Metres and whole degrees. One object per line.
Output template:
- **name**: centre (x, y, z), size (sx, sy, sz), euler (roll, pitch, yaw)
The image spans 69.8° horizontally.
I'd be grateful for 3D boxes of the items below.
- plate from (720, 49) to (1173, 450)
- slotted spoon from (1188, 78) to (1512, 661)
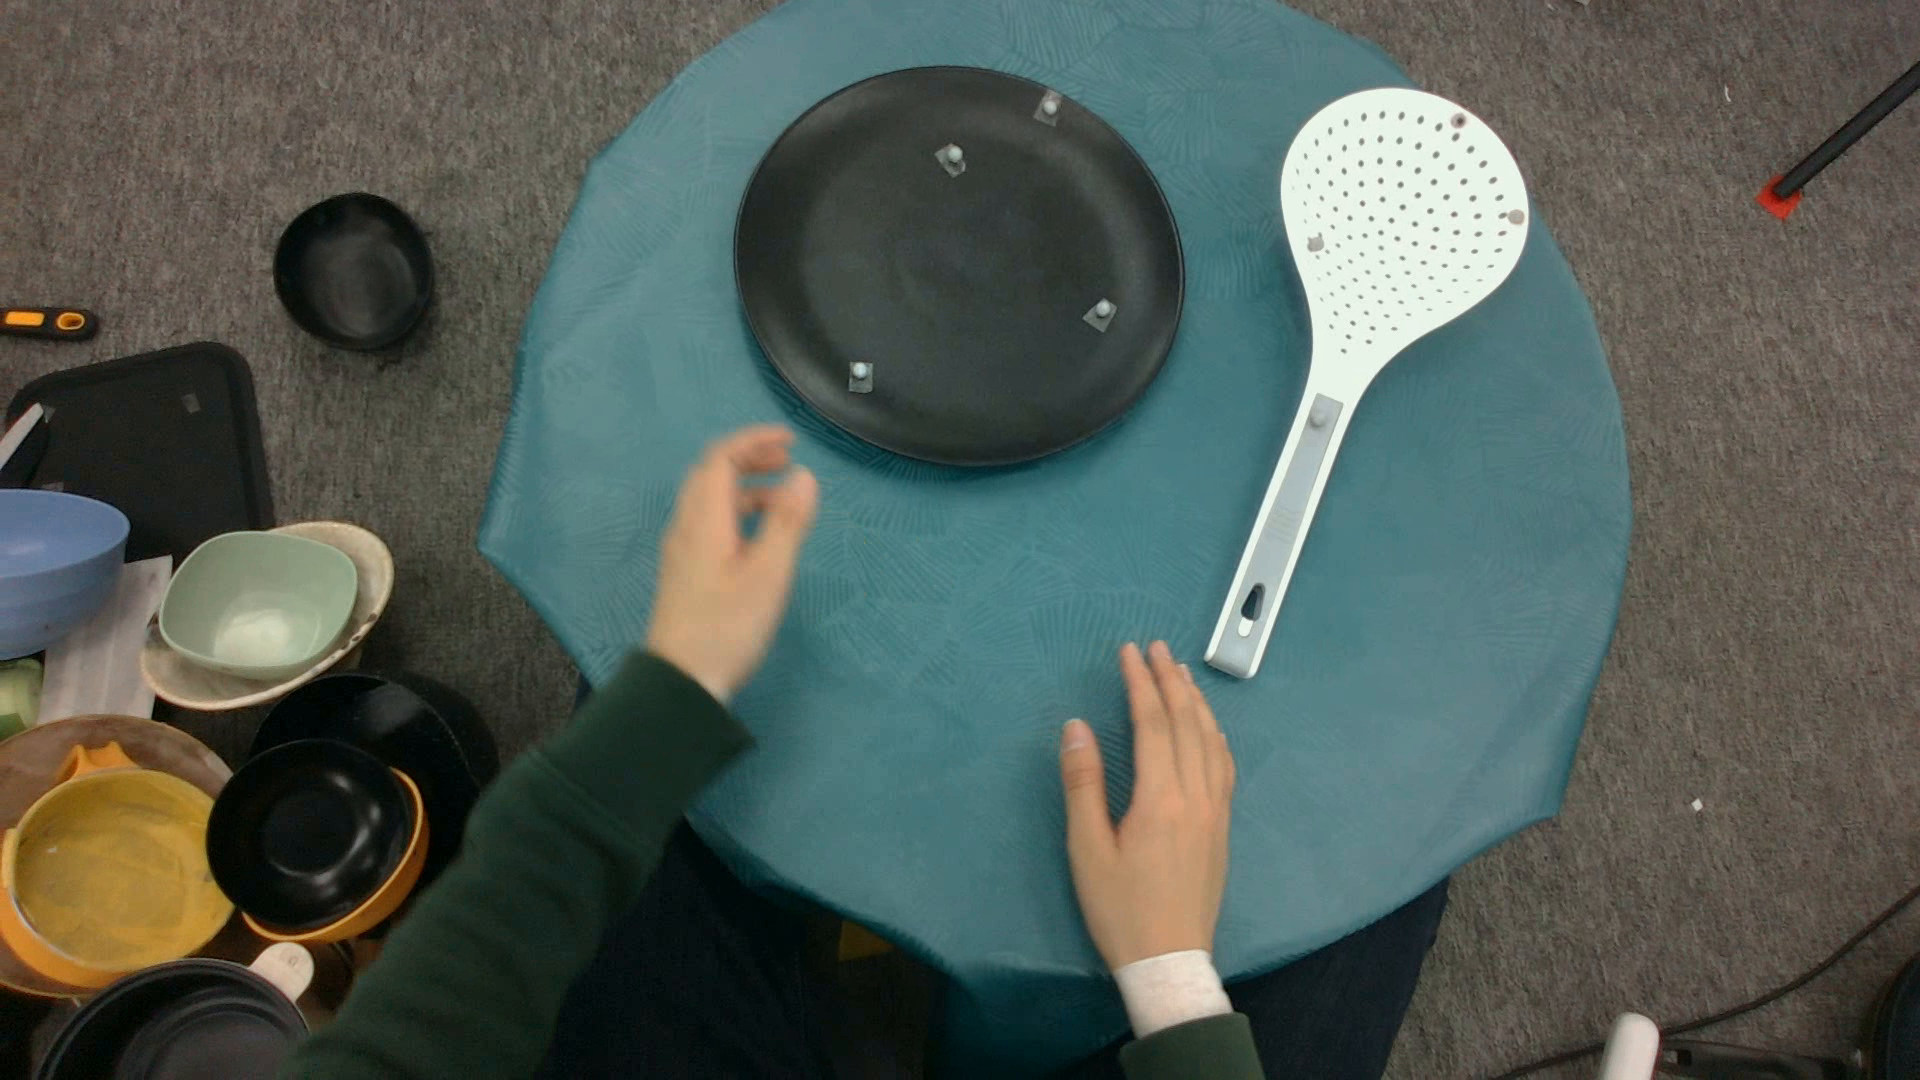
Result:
- **plate**: centre (-0.006, -0.157, 0.744), size (0.244, 0.023, 0.245), euler (2, 71, -7)
- **slotted spoon**: centre (0.195, -0.097, 0.737), size (0.136, 0.045, 0.351), euler (23, 70, 3)
